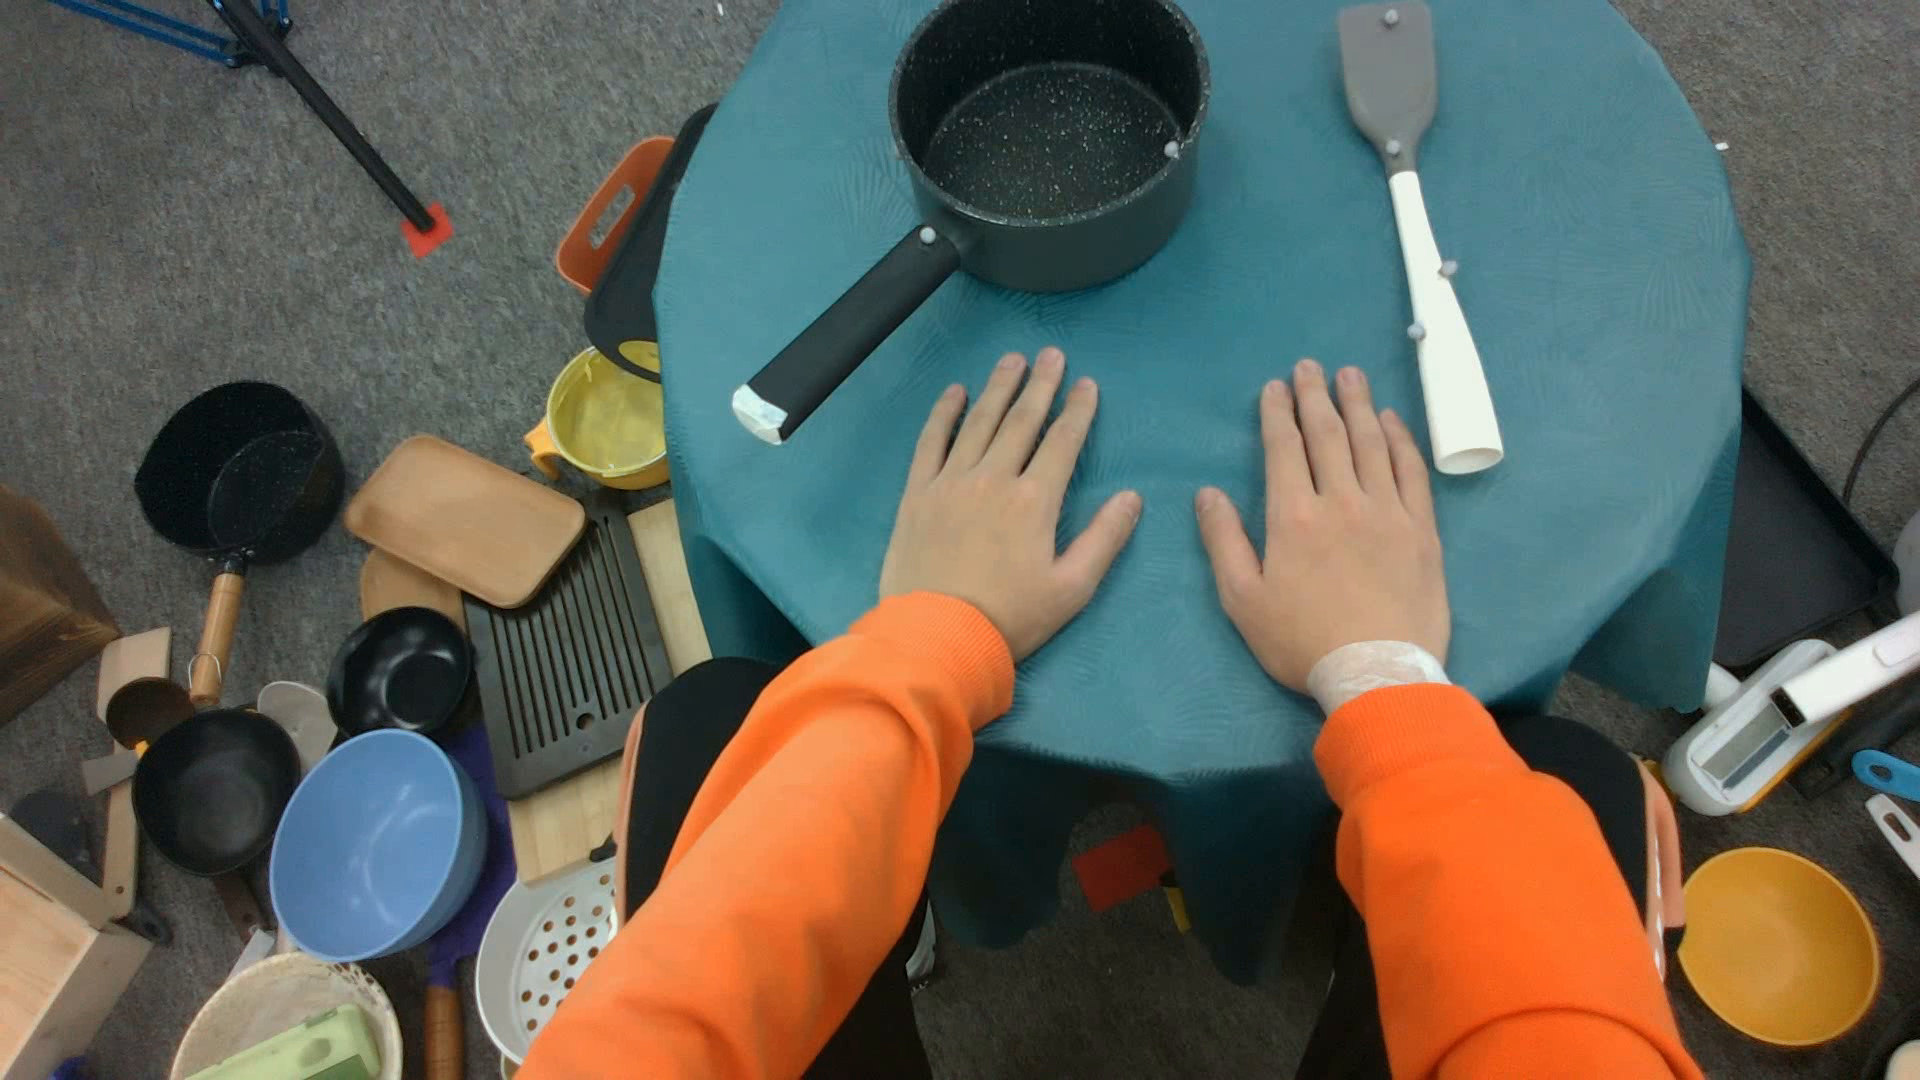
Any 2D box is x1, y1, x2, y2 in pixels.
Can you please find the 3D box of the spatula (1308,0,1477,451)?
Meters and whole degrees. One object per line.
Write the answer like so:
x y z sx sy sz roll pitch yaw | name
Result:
0.235 -0.184 0.748 0.058 0.032 0.288 -6 68 7 | spatula

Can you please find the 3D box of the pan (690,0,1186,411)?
-0.013 -0.177 0.744 0.172 0.086 0.329 36 74 19 | pan
